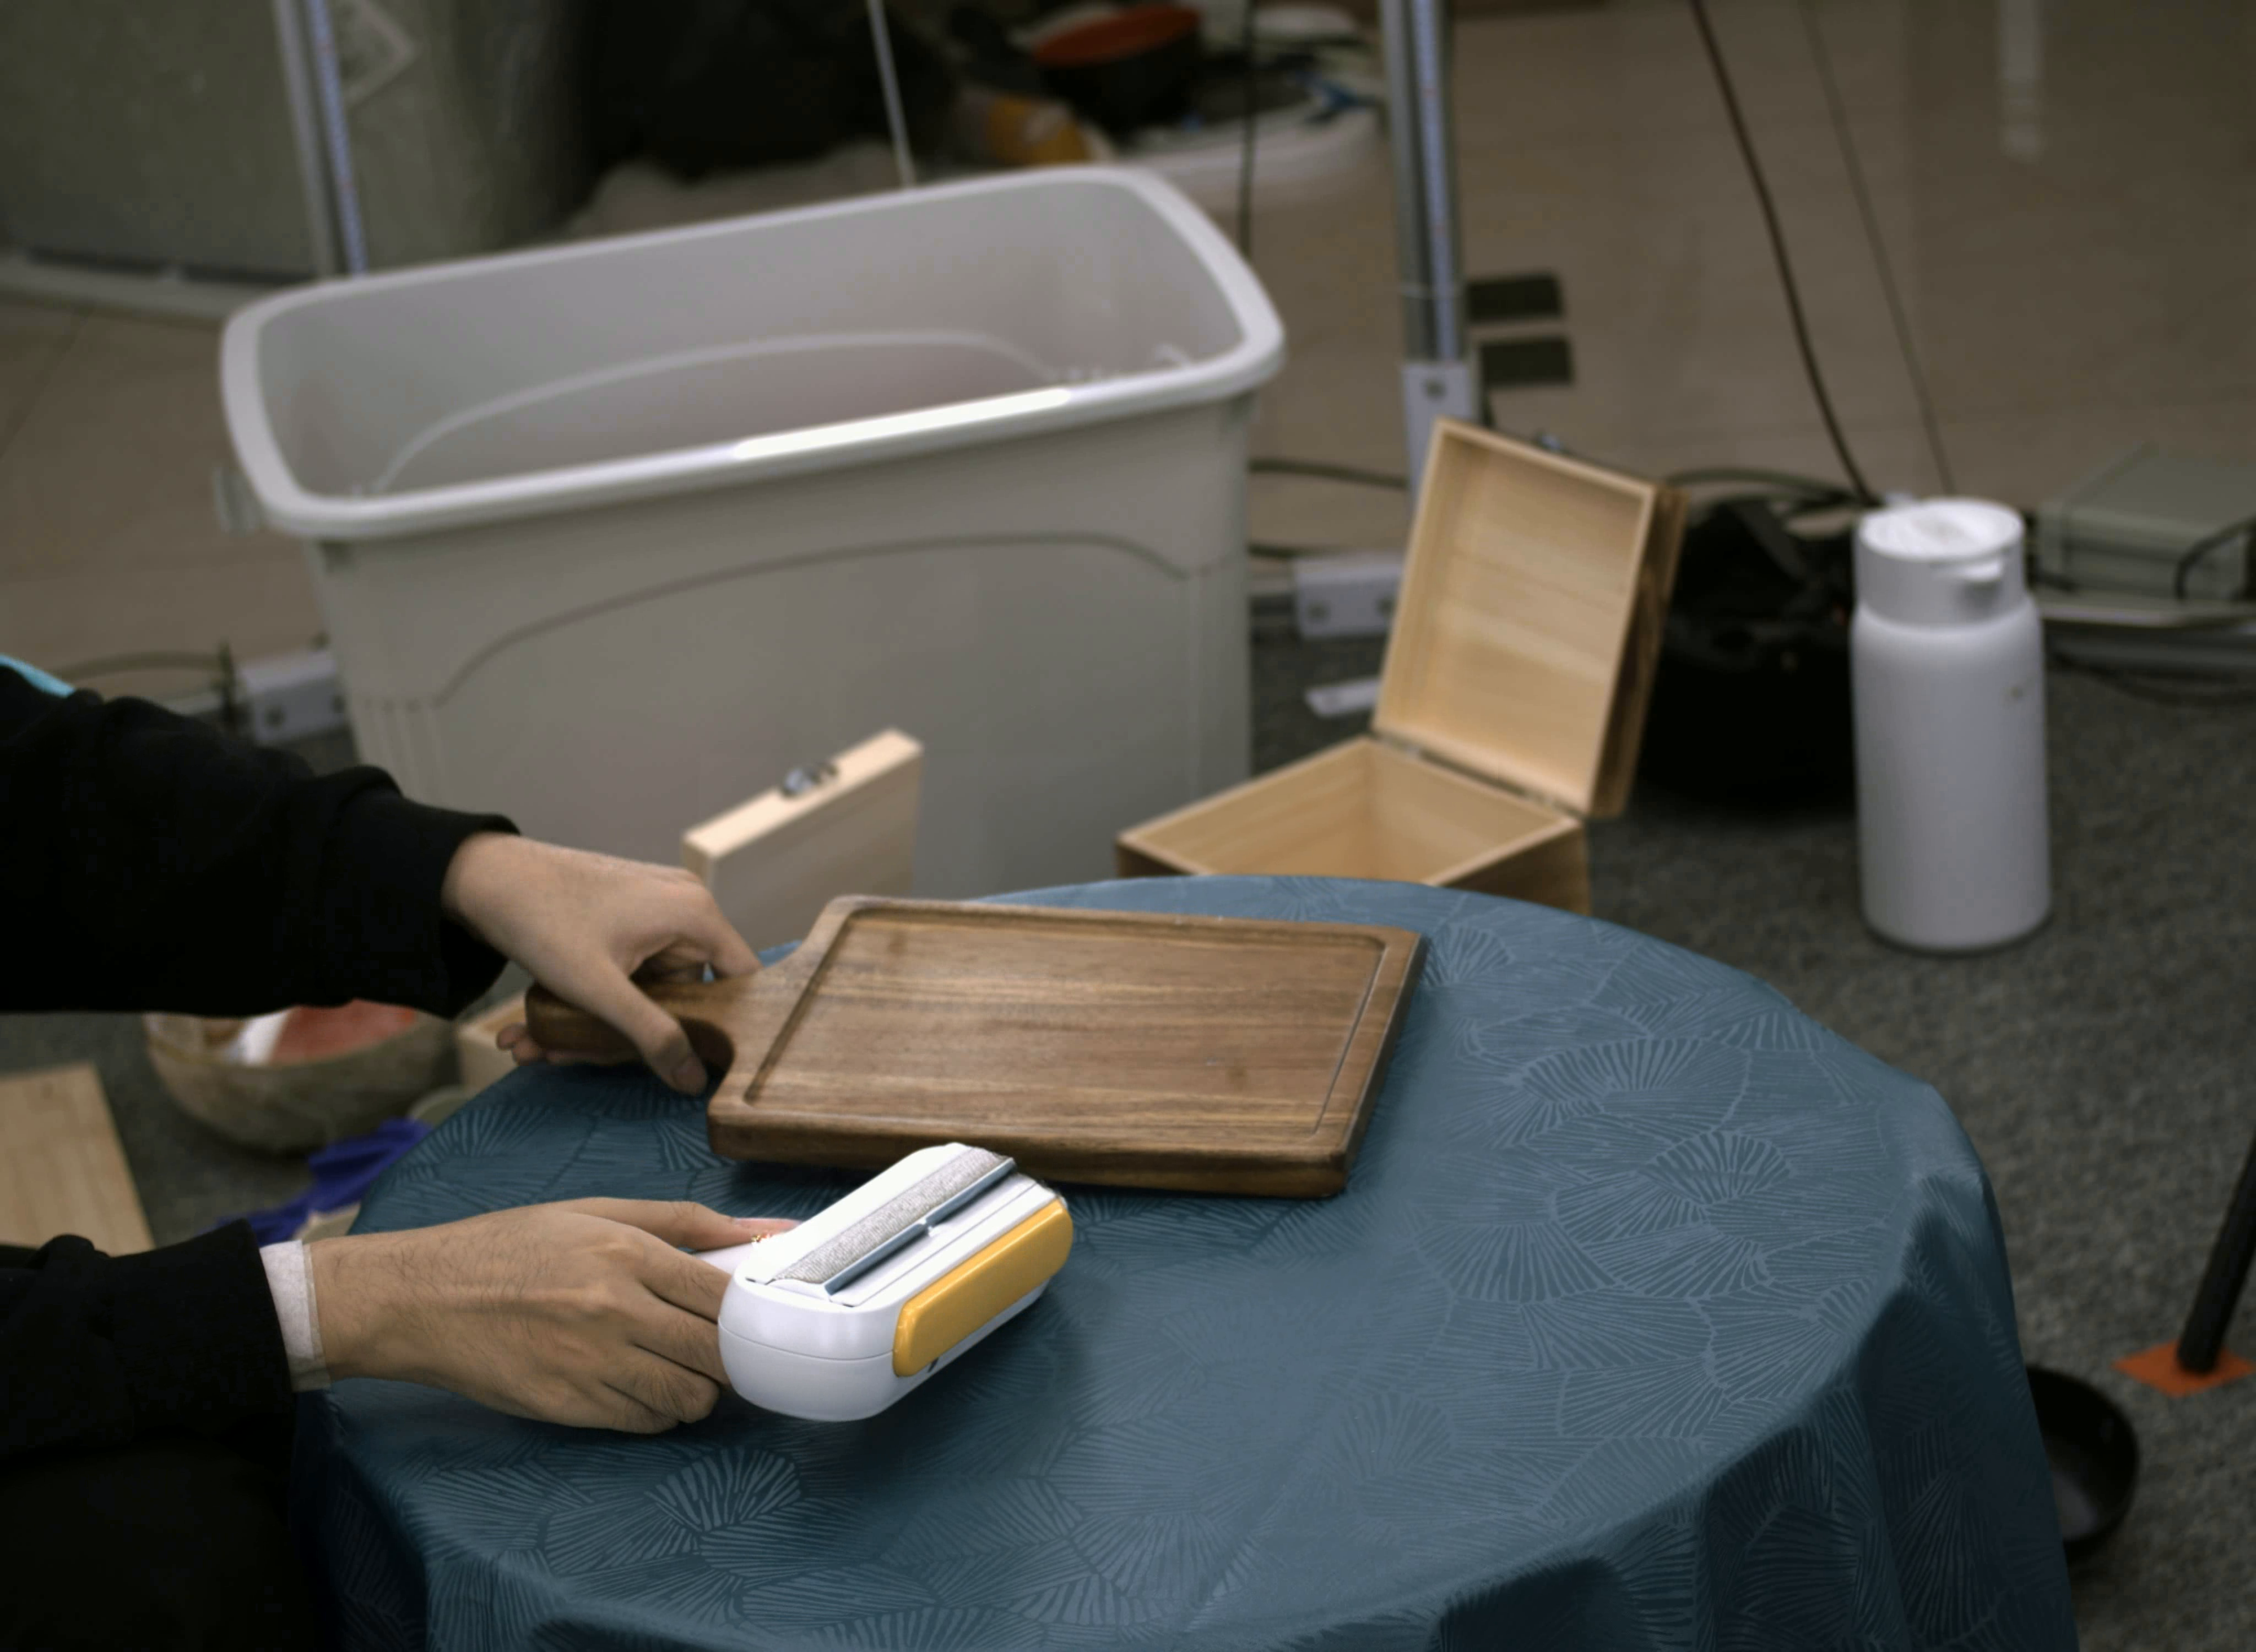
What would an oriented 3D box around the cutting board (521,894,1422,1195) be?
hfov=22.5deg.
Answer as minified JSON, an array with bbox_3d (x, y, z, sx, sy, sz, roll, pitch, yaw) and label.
[{"bbox_3d":[-0.069,0.080,2.235,0.351,0.023,0.198,3,26,11],"label":"cutting board"}]

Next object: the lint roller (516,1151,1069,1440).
[{"bbox_3d":[-0.137,0.165,2.038,0.192,0.075,0.191,6,20,26],"label":"lint roller"}]
